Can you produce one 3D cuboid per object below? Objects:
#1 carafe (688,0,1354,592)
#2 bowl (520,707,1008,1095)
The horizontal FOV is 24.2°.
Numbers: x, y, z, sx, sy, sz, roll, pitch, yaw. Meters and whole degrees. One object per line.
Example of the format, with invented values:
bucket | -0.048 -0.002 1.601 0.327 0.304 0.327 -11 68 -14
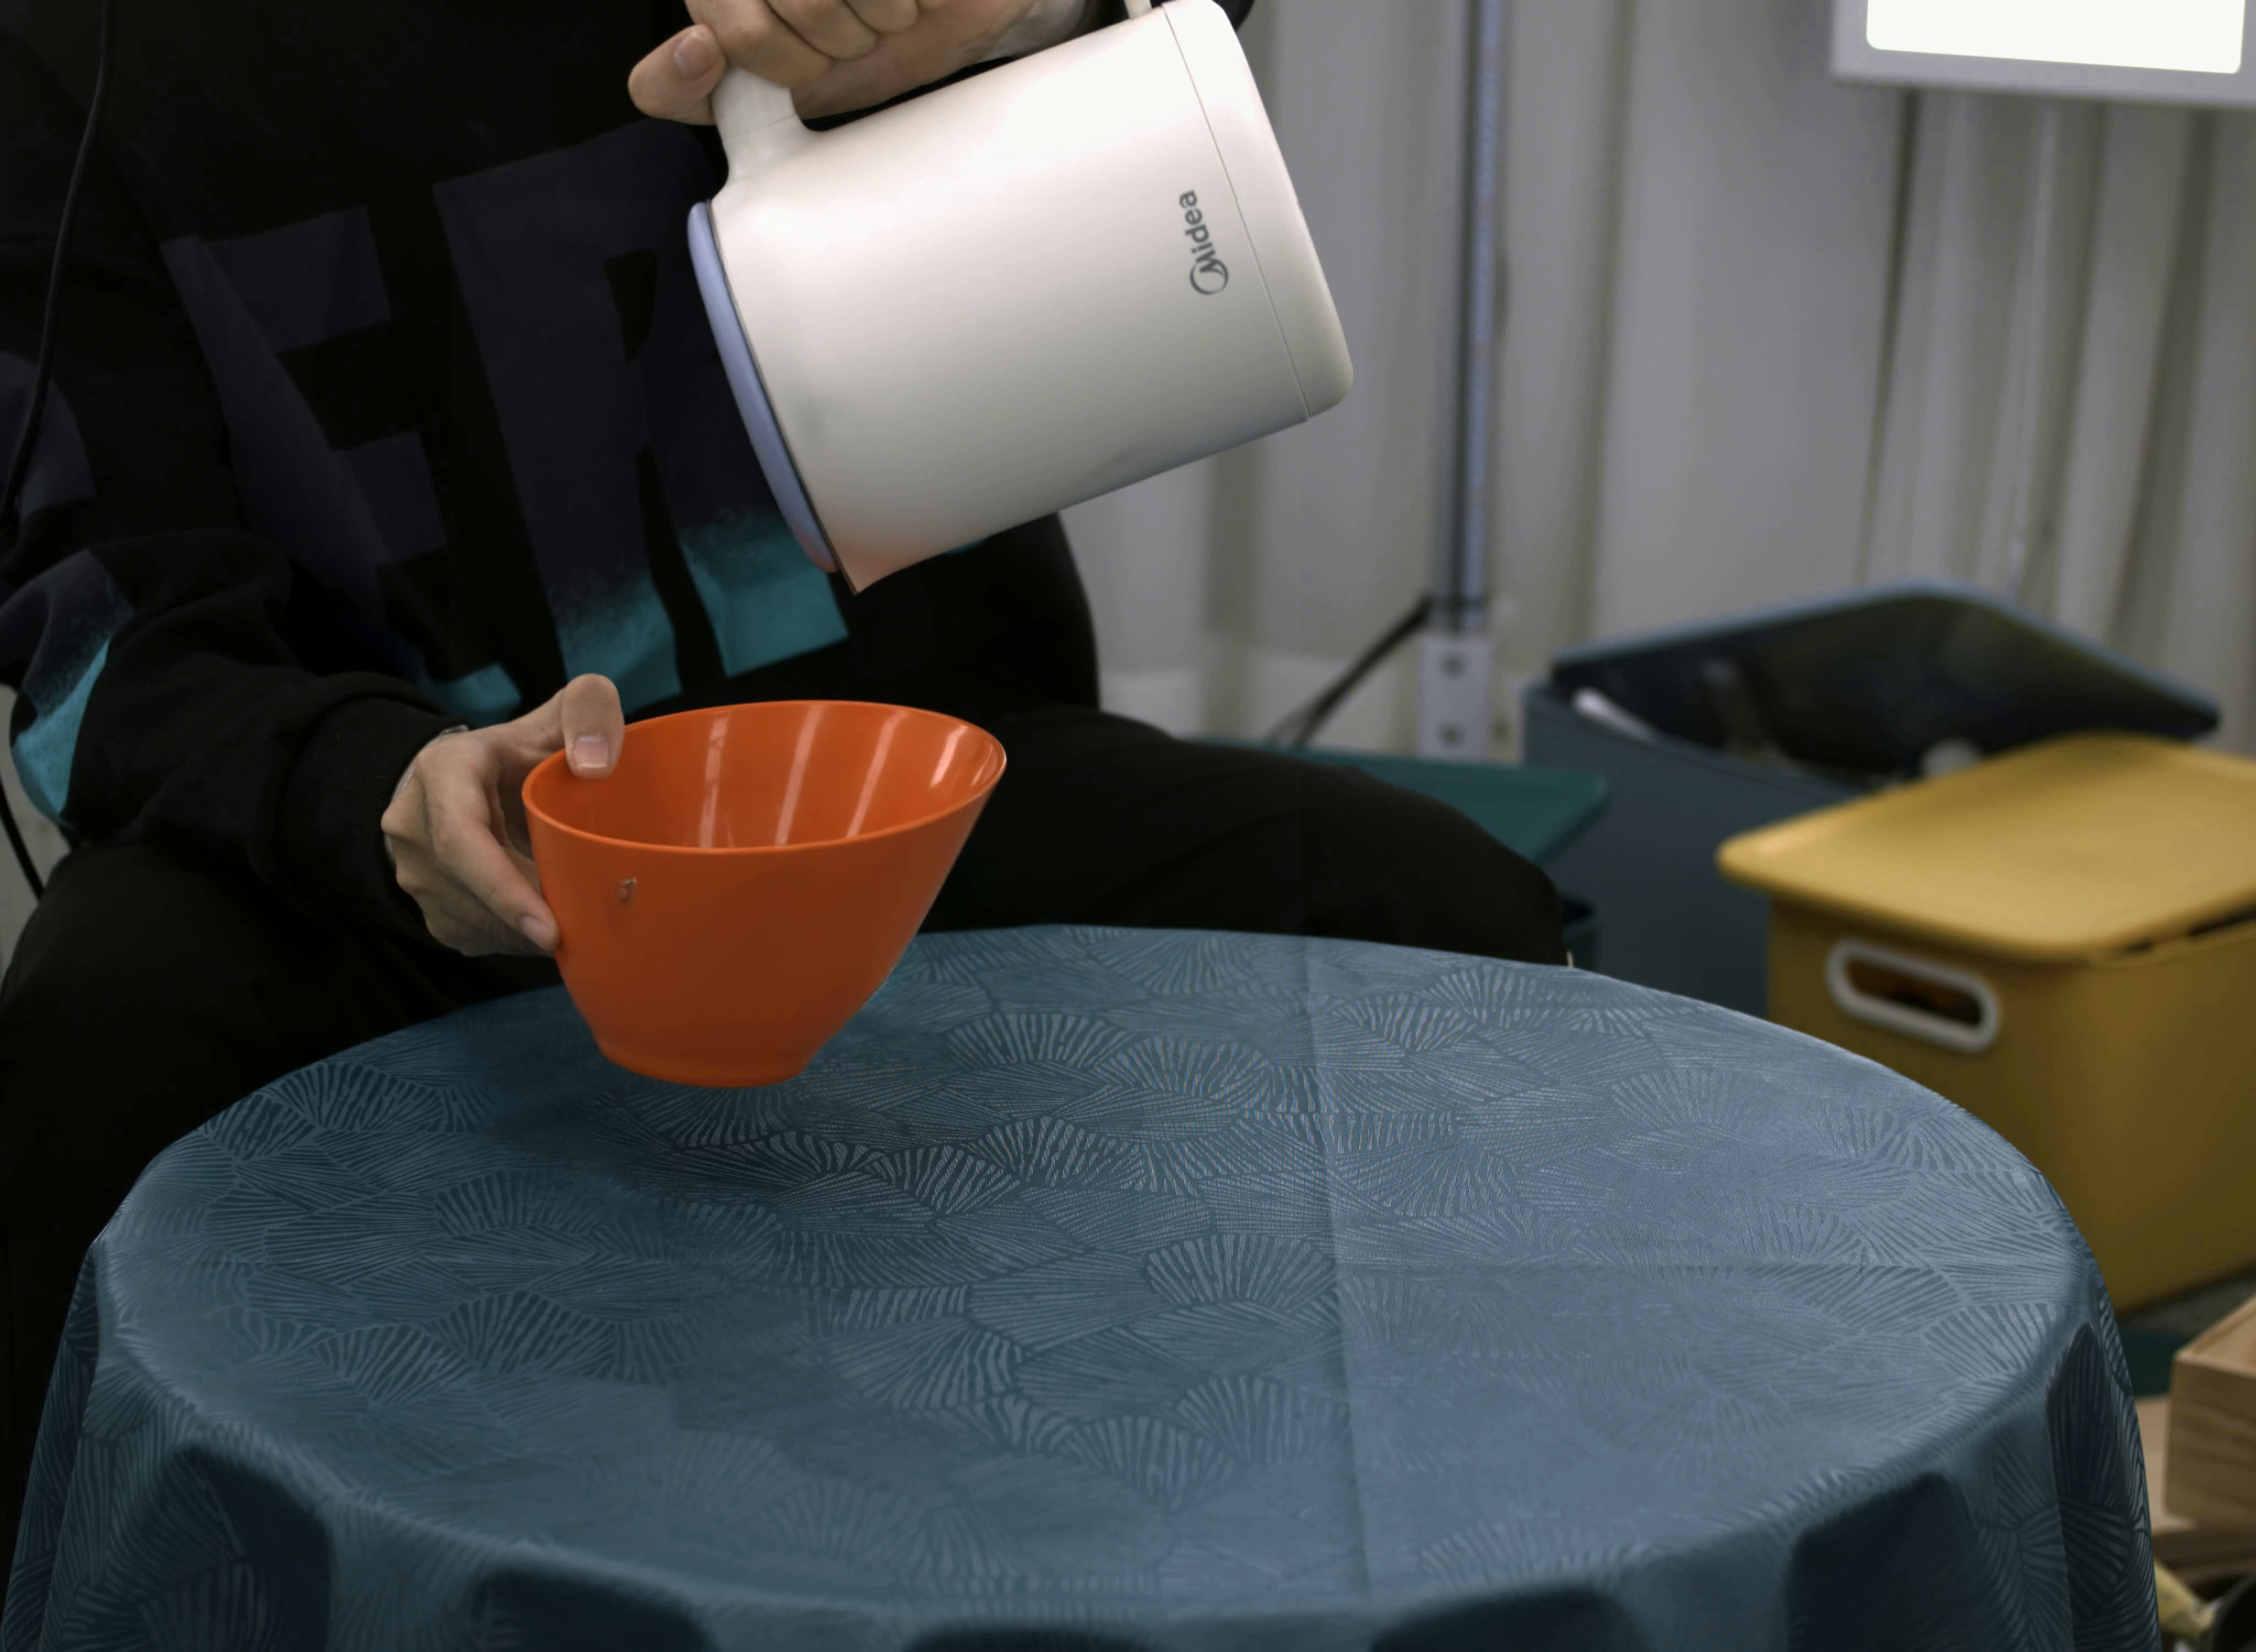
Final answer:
carafe | -0.039 -0.184 1.566 0.182 0.192 0.132 -17 9 0
bowl | -0.116 0.024 1.621 0.147 0.105 0.147 7 16 -2
